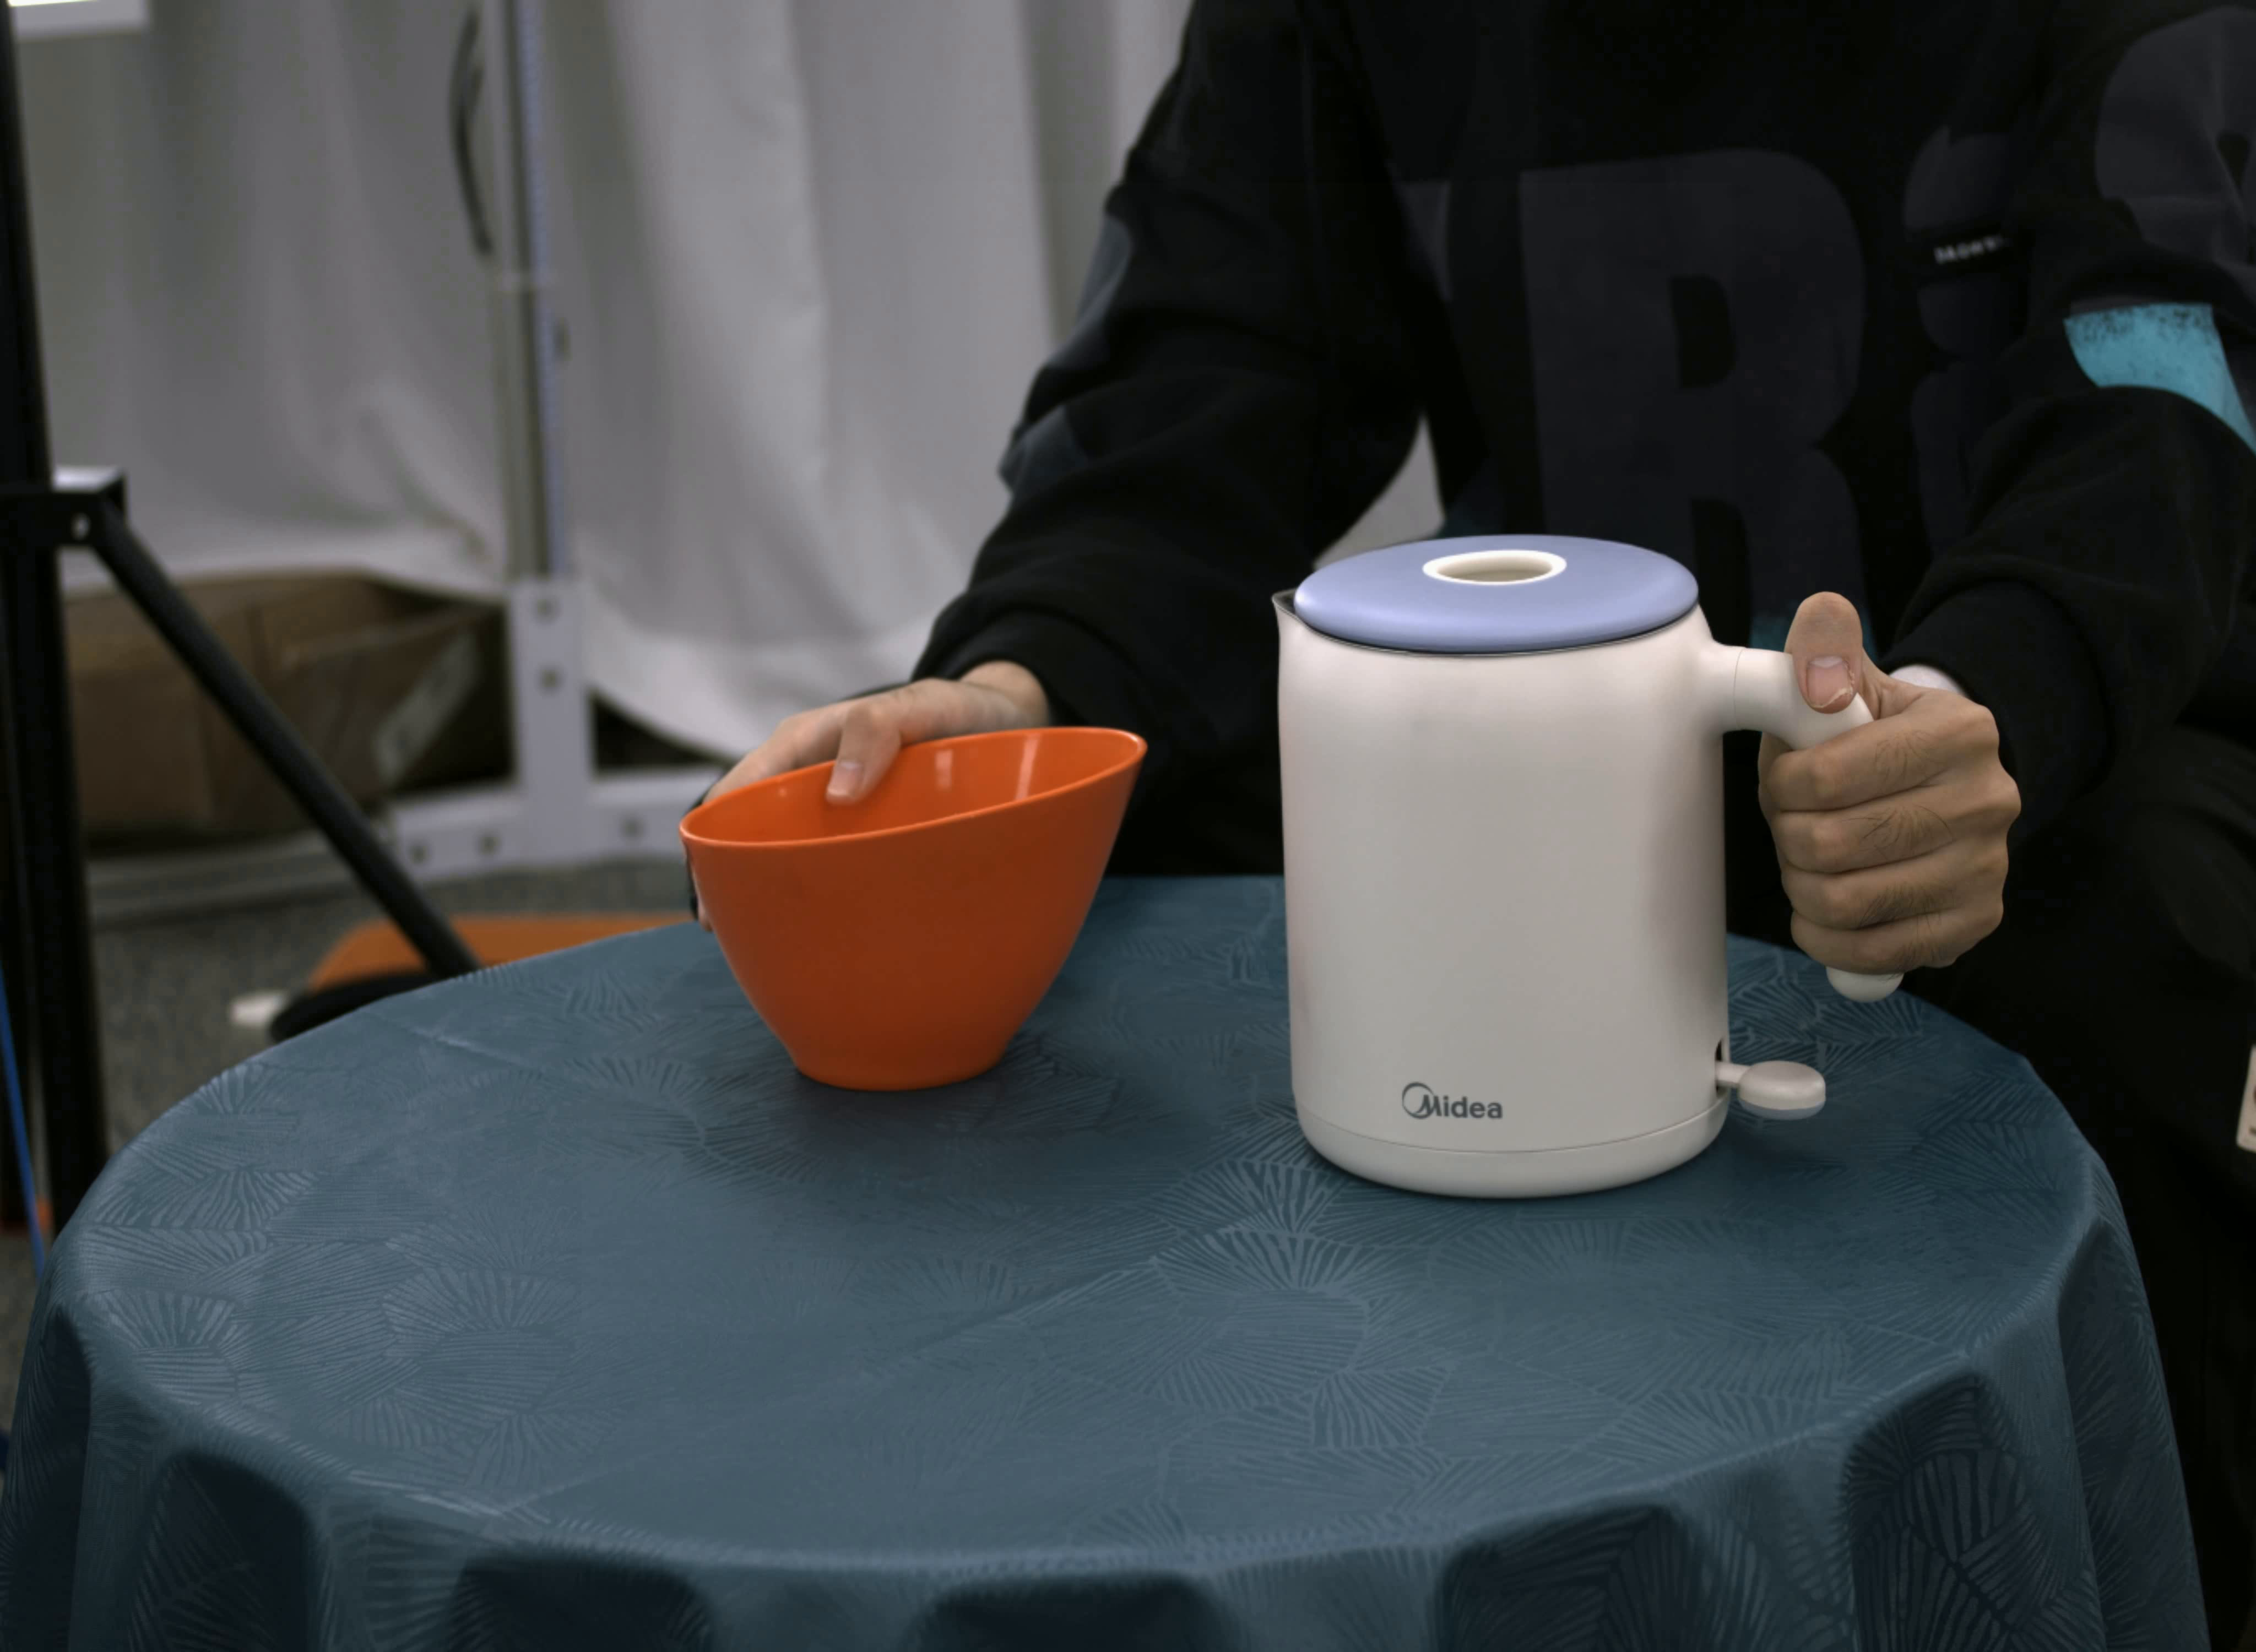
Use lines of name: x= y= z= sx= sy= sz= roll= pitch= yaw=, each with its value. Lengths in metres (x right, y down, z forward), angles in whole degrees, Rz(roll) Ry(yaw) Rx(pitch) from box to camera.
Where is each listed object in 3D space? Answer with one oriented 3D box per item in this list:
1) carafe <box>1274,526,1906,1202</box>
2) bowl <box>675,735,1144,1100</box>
carafe: x=0.135 y=0.013 z=1.560 sx=0.193 sy=0.182 sz=0.131 roll=5 pitch=18 yaw=18
bowl: x=-0.067 y=0.028 z=1.667 sx=0.147 sy=0.104 sz=0.149 roll=-2 pitch=17 yaw=-1
